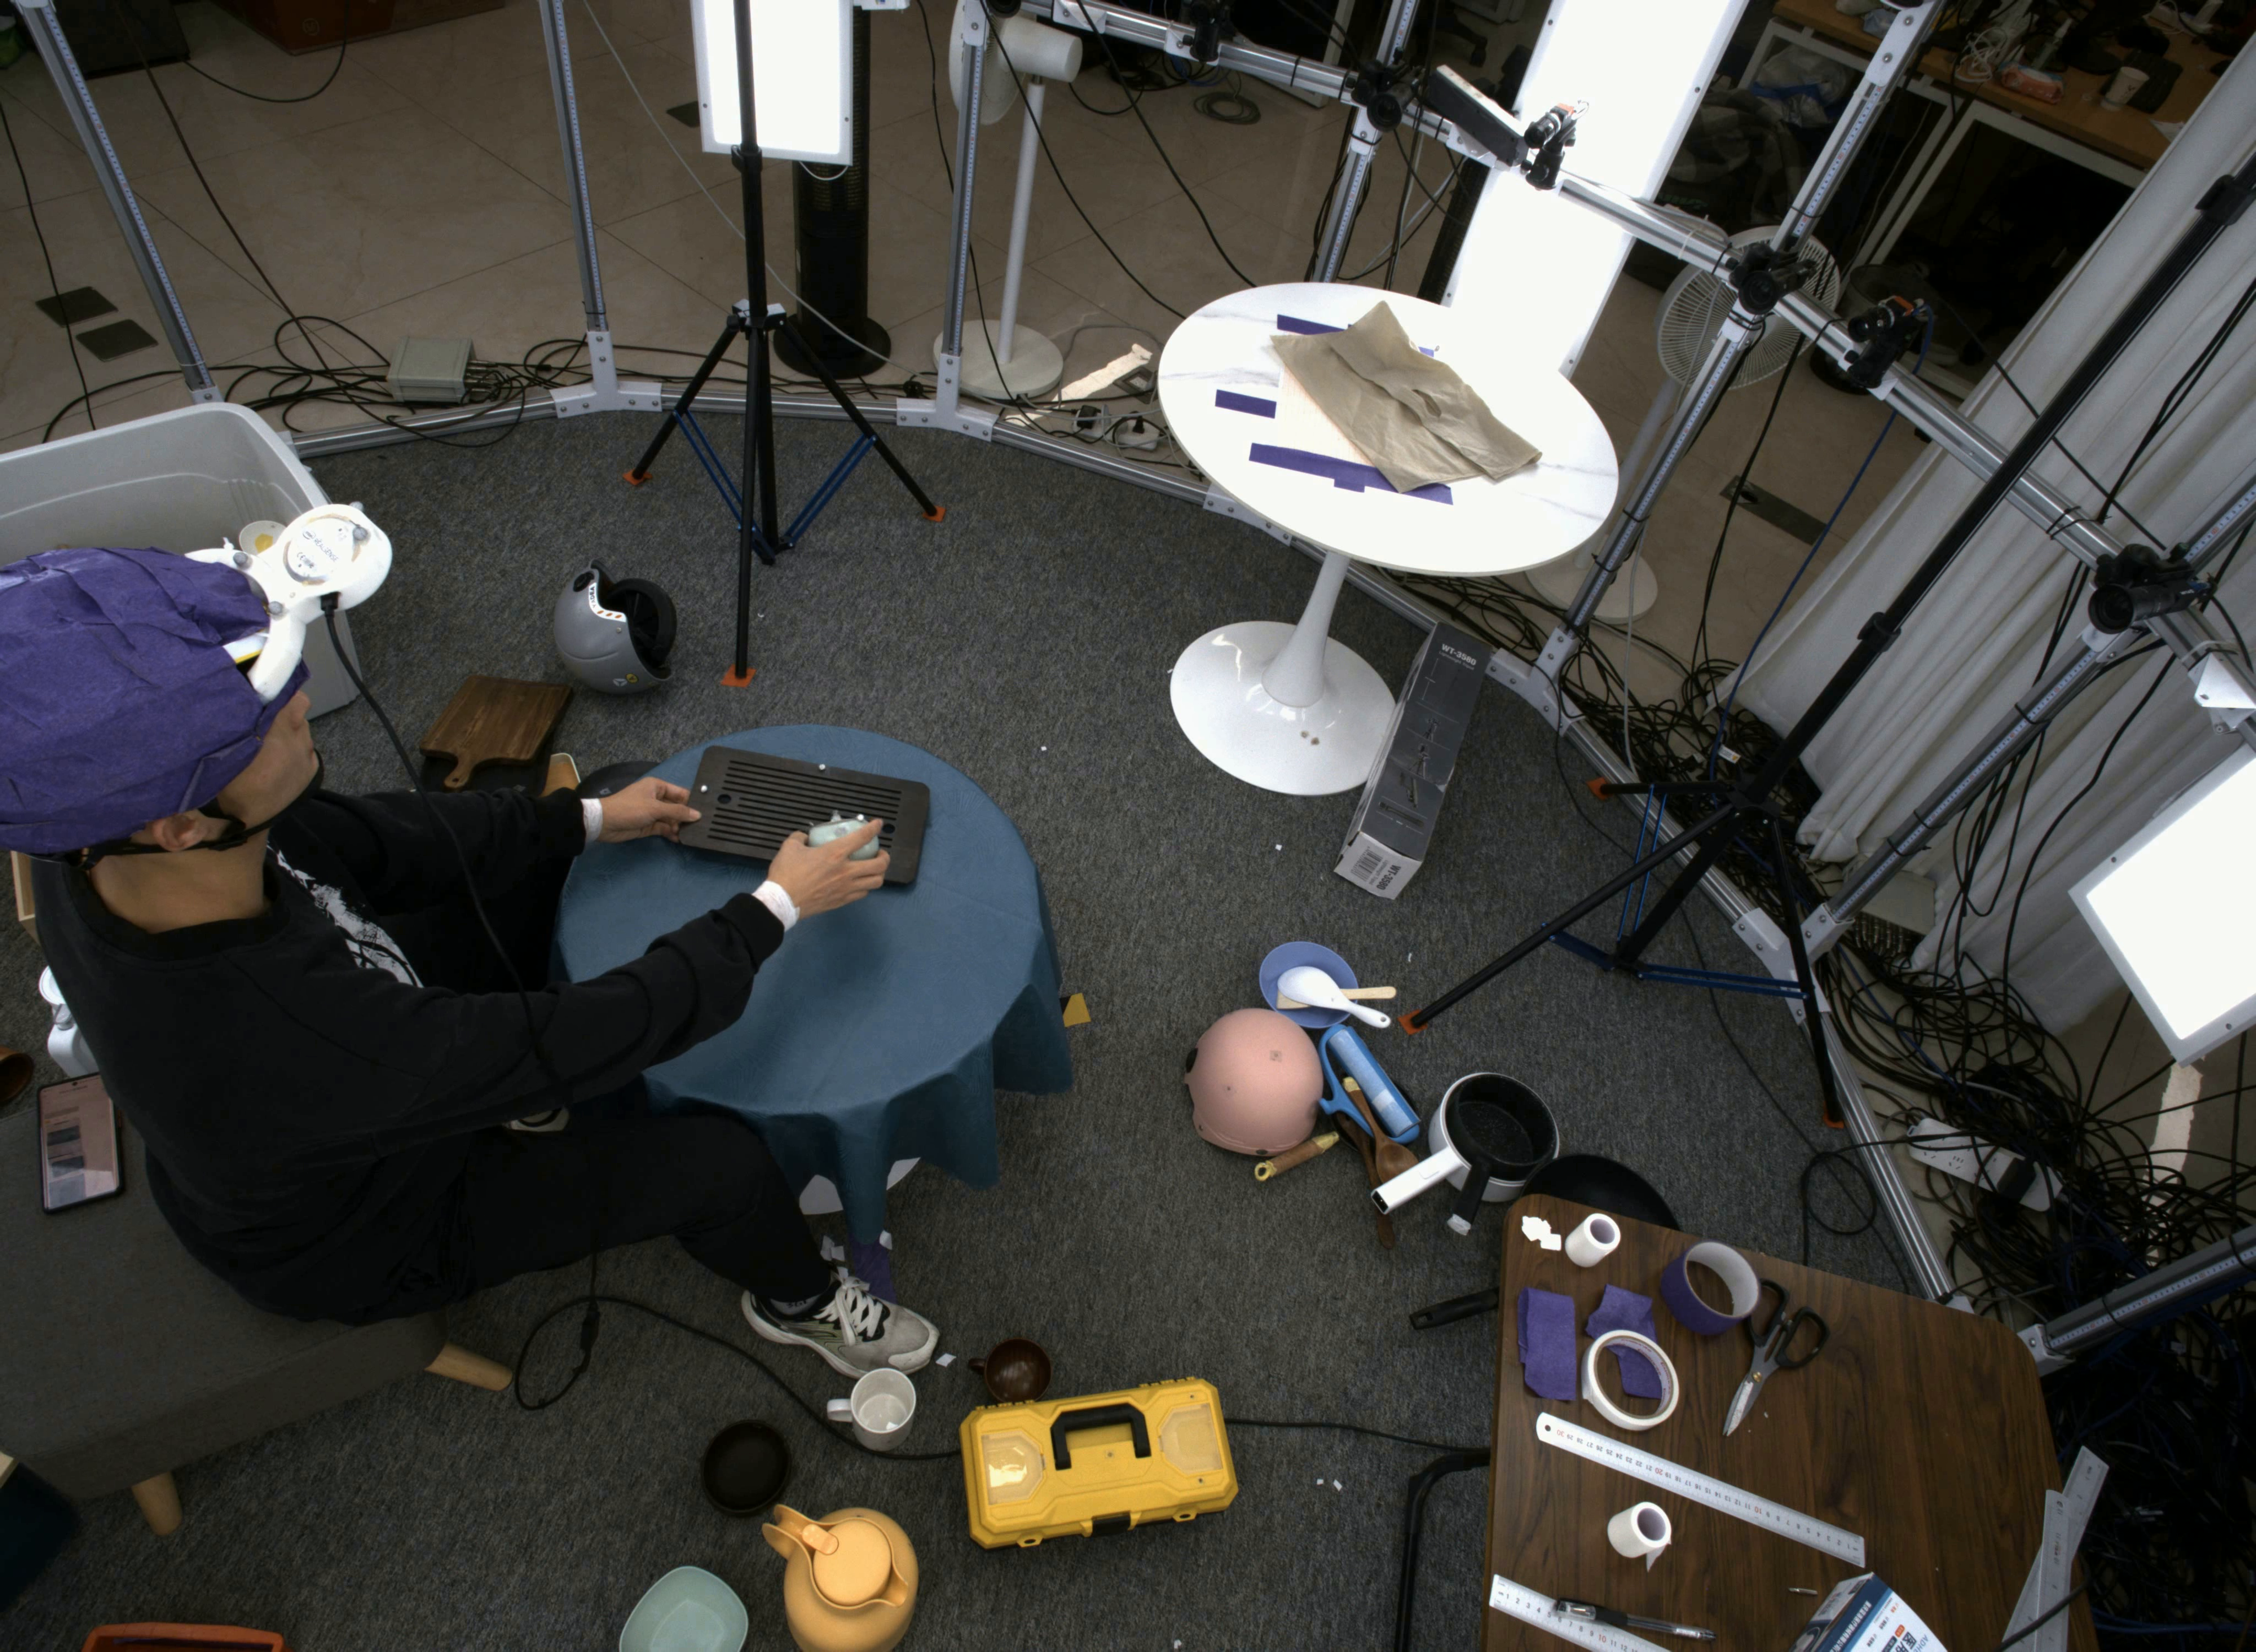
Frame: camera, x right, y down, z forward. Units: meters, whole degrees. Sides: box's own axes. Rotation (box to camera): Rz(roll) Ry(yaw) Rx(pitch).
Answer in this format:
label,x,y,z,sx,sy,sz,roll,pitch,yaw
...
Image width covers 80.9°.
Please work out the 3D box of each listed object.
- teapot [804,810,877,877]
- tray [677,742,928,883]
label,x,y,z,sx,sy,sz,roll,pitch,yaw
teapot,-0.350,0.020,1.576,0.088,0.142,0.076,-12,91,-12
tray,-0.424,-0.018,1.710,0.306,0.019,0.167,11,52,-12
